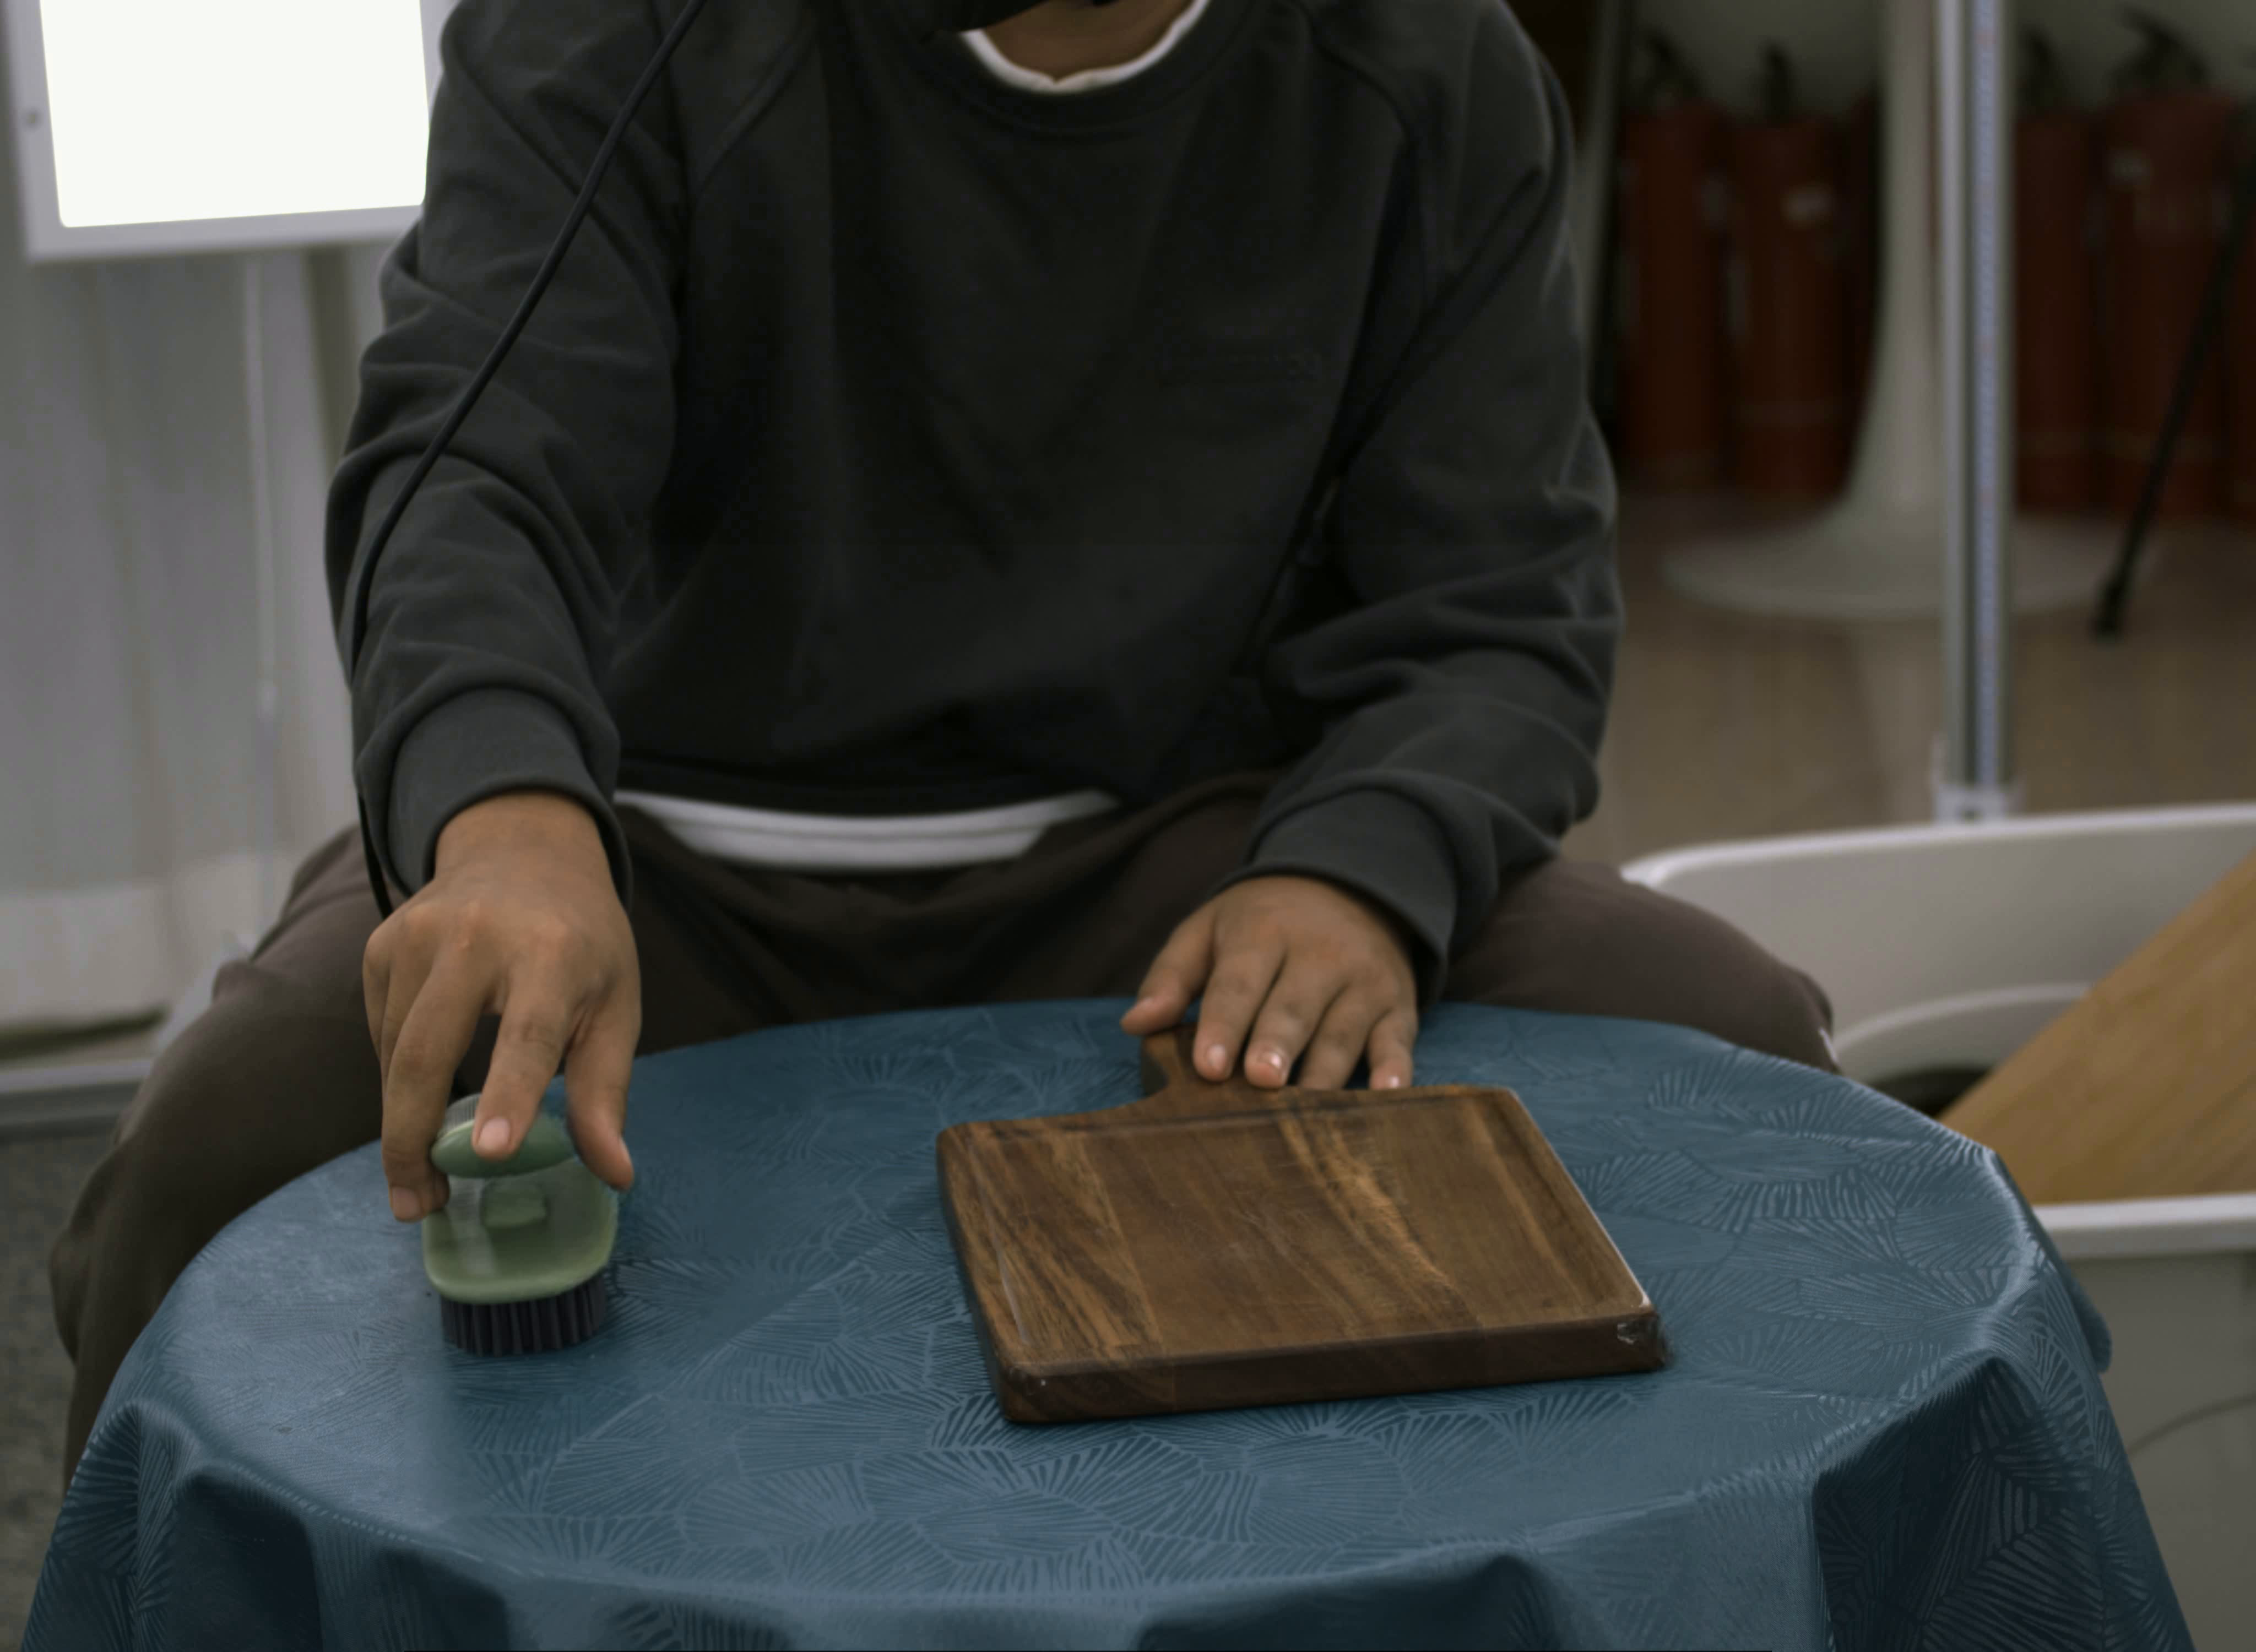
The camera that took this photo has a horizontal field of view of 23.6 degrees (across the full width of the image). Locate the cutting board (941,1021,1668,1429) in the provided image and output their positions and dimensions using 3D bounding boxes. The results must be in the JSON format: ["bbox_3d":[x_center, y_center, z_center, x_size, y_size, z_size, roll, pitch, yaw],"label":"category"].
[{"bbox_3d":[0.043,0.118,1.730,0.198,0.023,0.353,-5,13,-5],"label":"cutting board"}]

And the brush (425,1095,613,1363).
[{"bbox_3d":[-0.191,0.124,1.696,0.058,0.077,0.123,-7,2,-7],"label":"brush"}]
